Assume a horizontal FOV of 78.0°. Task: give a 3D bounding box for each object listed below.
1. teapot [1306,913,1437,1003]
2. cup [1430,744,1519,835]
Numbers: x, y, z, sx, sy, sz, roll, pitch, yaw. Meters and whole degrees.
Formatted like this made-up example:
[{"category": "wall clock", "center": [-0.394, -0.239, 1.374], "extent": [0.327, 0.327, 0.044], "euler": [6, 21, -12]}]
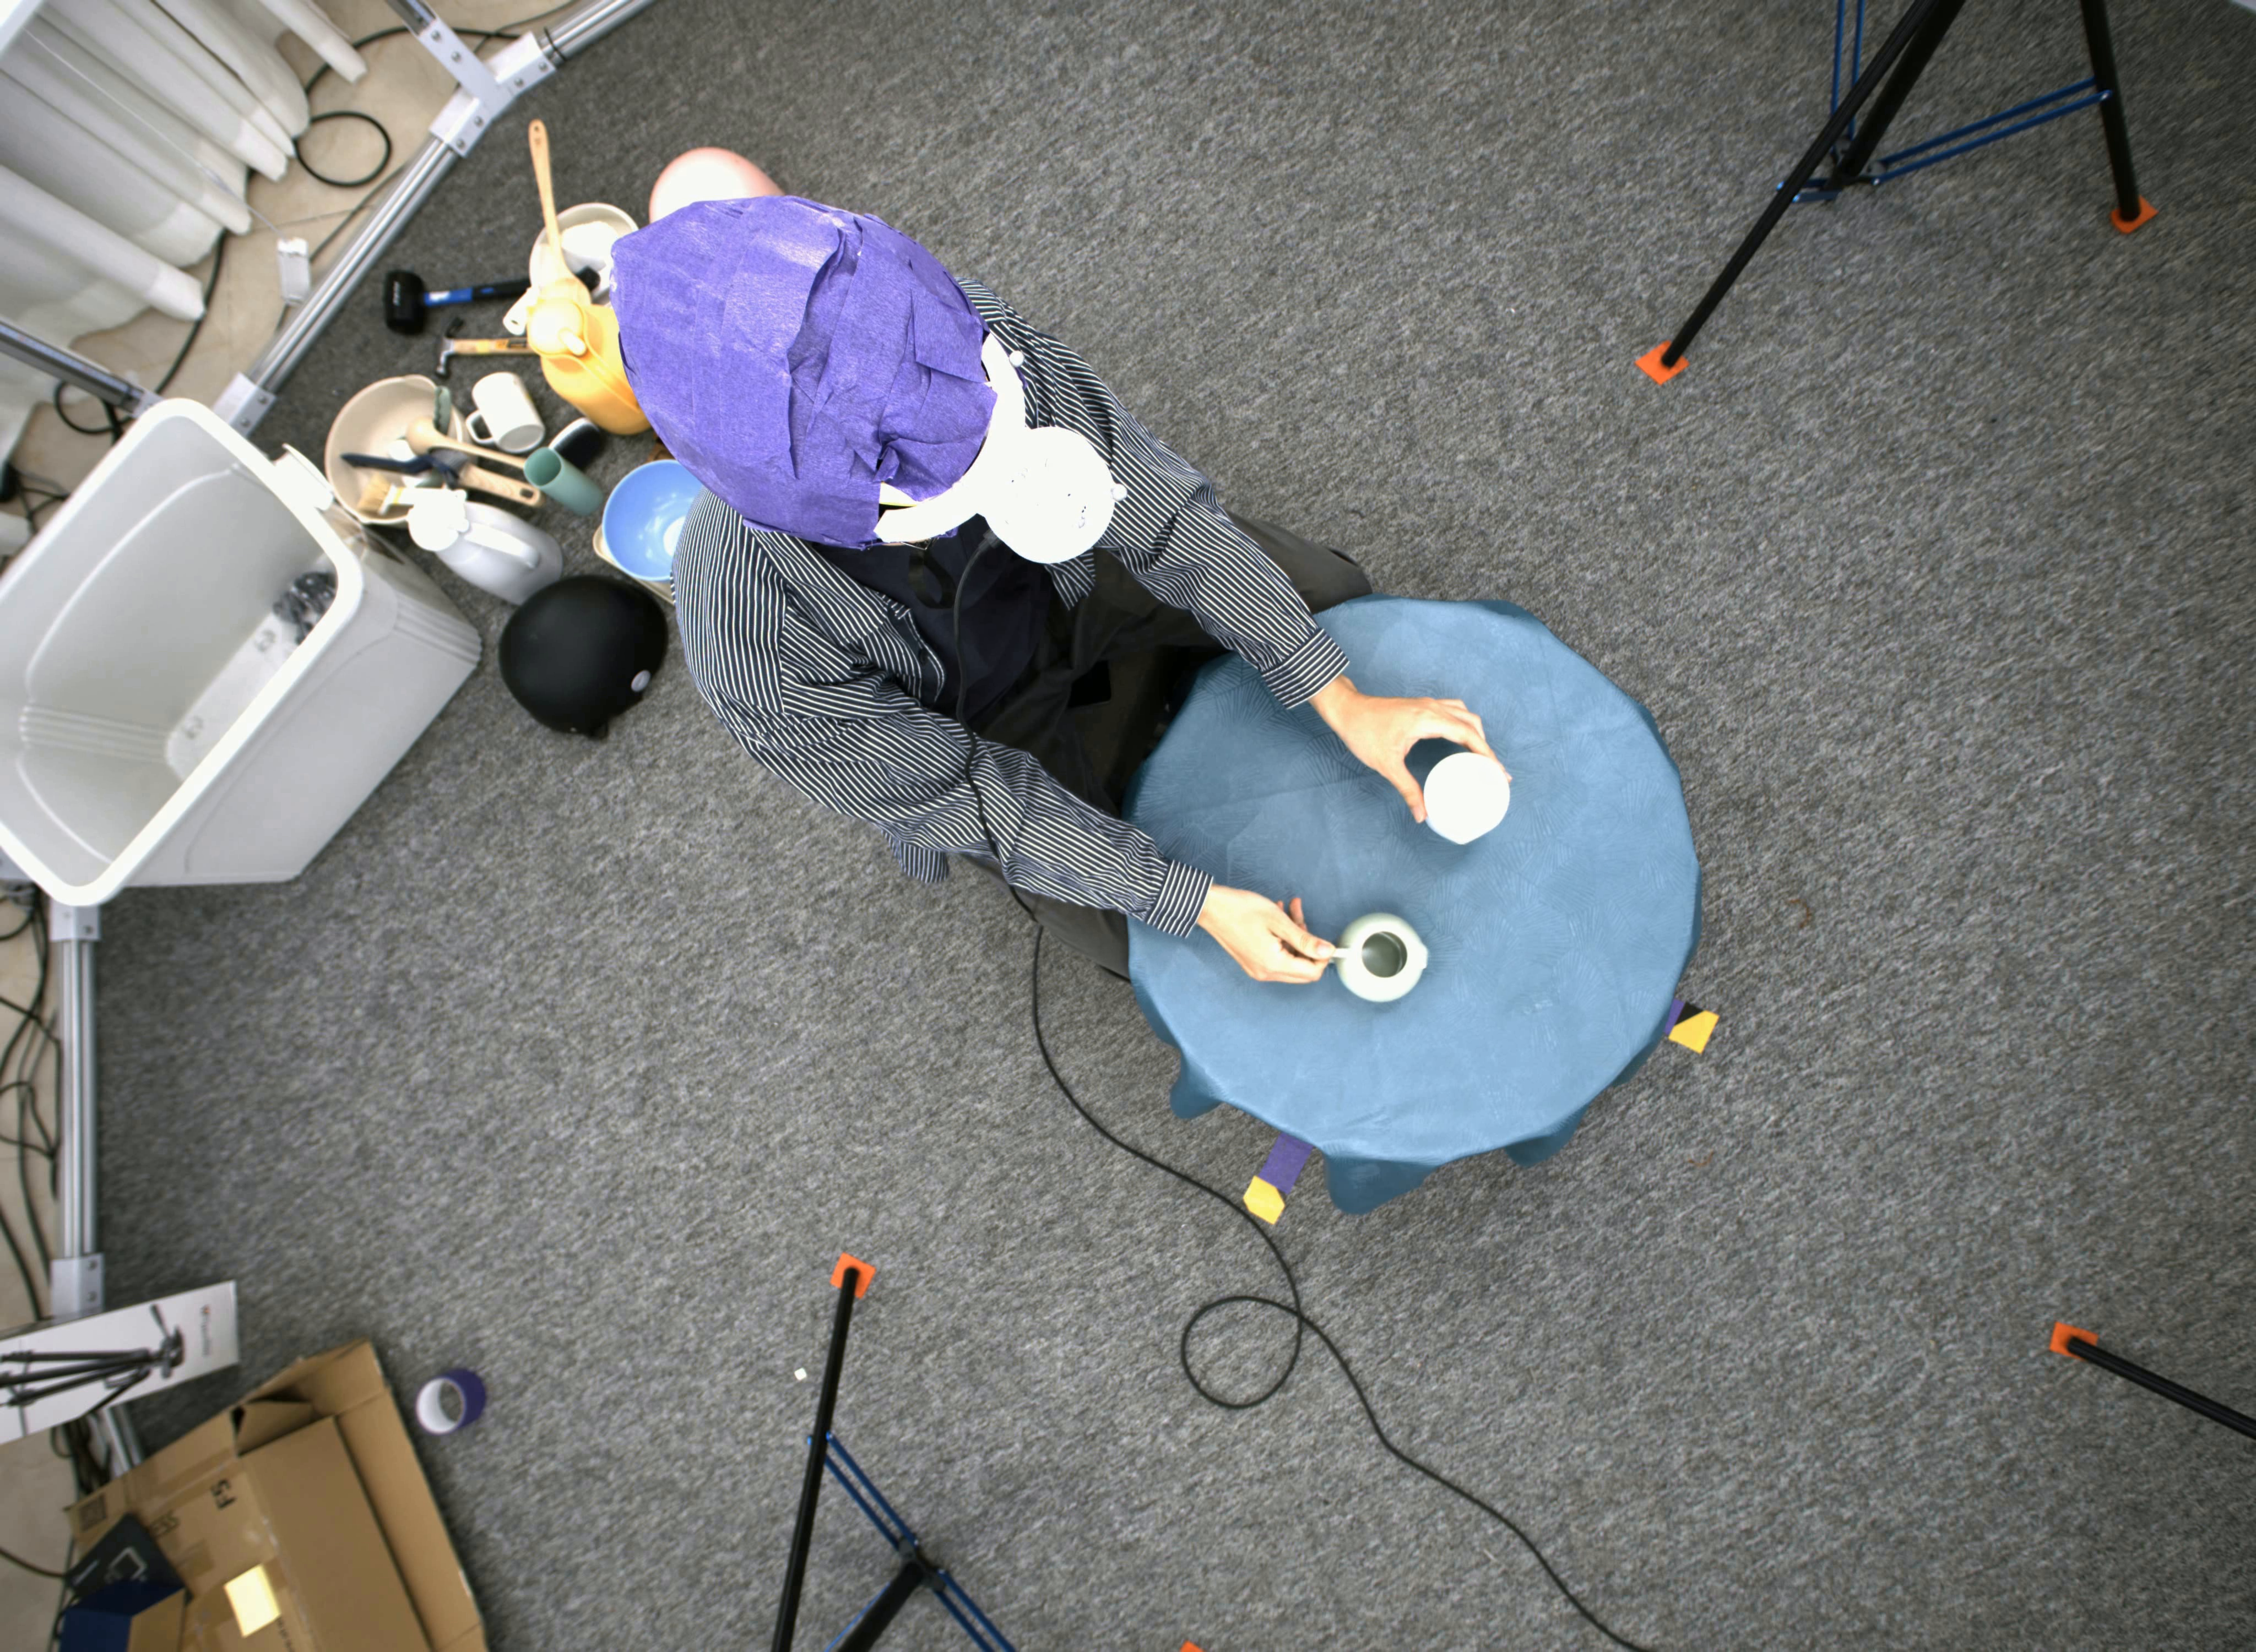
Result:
[{"category": "teapot", "center": [0.245, 0.132, 1.403], "extent": [0.128, 0.061, 0.091], "euler": [6, 84, -2]}, {"category": "cup", "center": [0.343, -0.035, 1.373], "extent": [0.082, 0.125, 0.081], "euler": [-1, 85, 10]}]
